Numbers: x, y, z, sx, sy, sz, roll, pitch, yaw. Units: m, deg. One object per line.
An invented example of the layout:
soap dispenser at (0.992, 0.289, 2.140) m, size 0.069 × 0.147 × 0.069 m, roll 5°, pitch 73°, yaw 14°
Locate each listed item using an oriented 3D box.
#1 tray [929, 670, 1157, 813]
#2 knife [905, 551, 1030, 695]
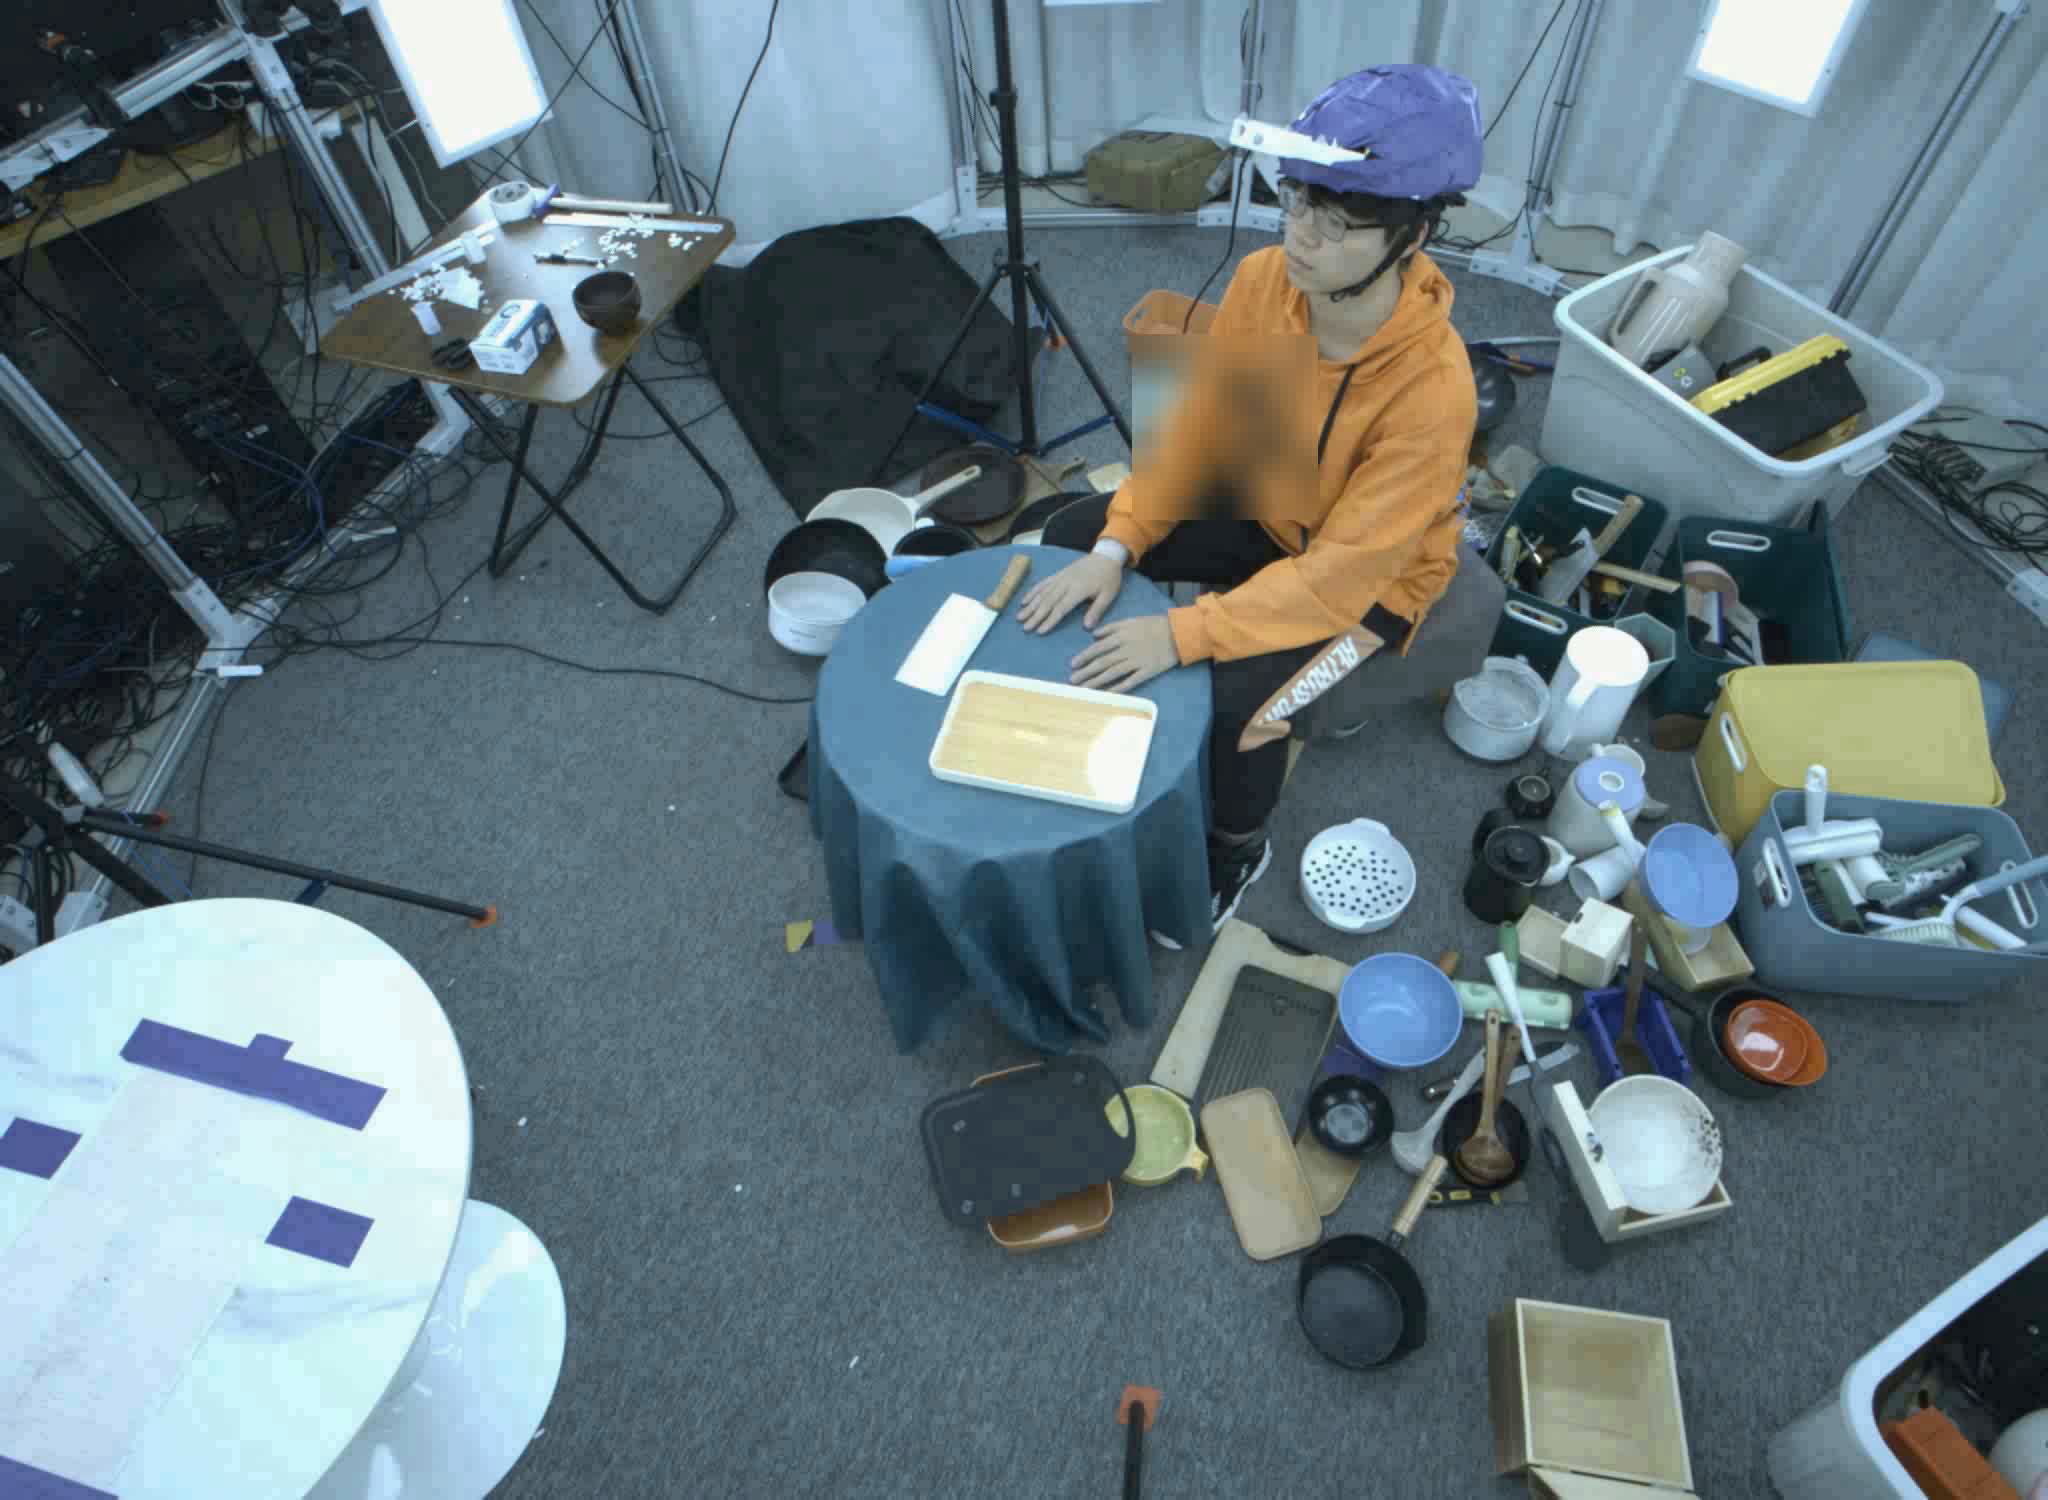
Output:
tray at (0.029, -0.015, 1.780) m, size 0.298 × 0.028 × 0.191 m, roll 11°, pitch 56°, yaw 10°
knife at (-0.091, -0.210, 1.929) m, size 0.091 × 0.021 × 0.306 m, roll 21°, pitch 60°, yaw 18°
